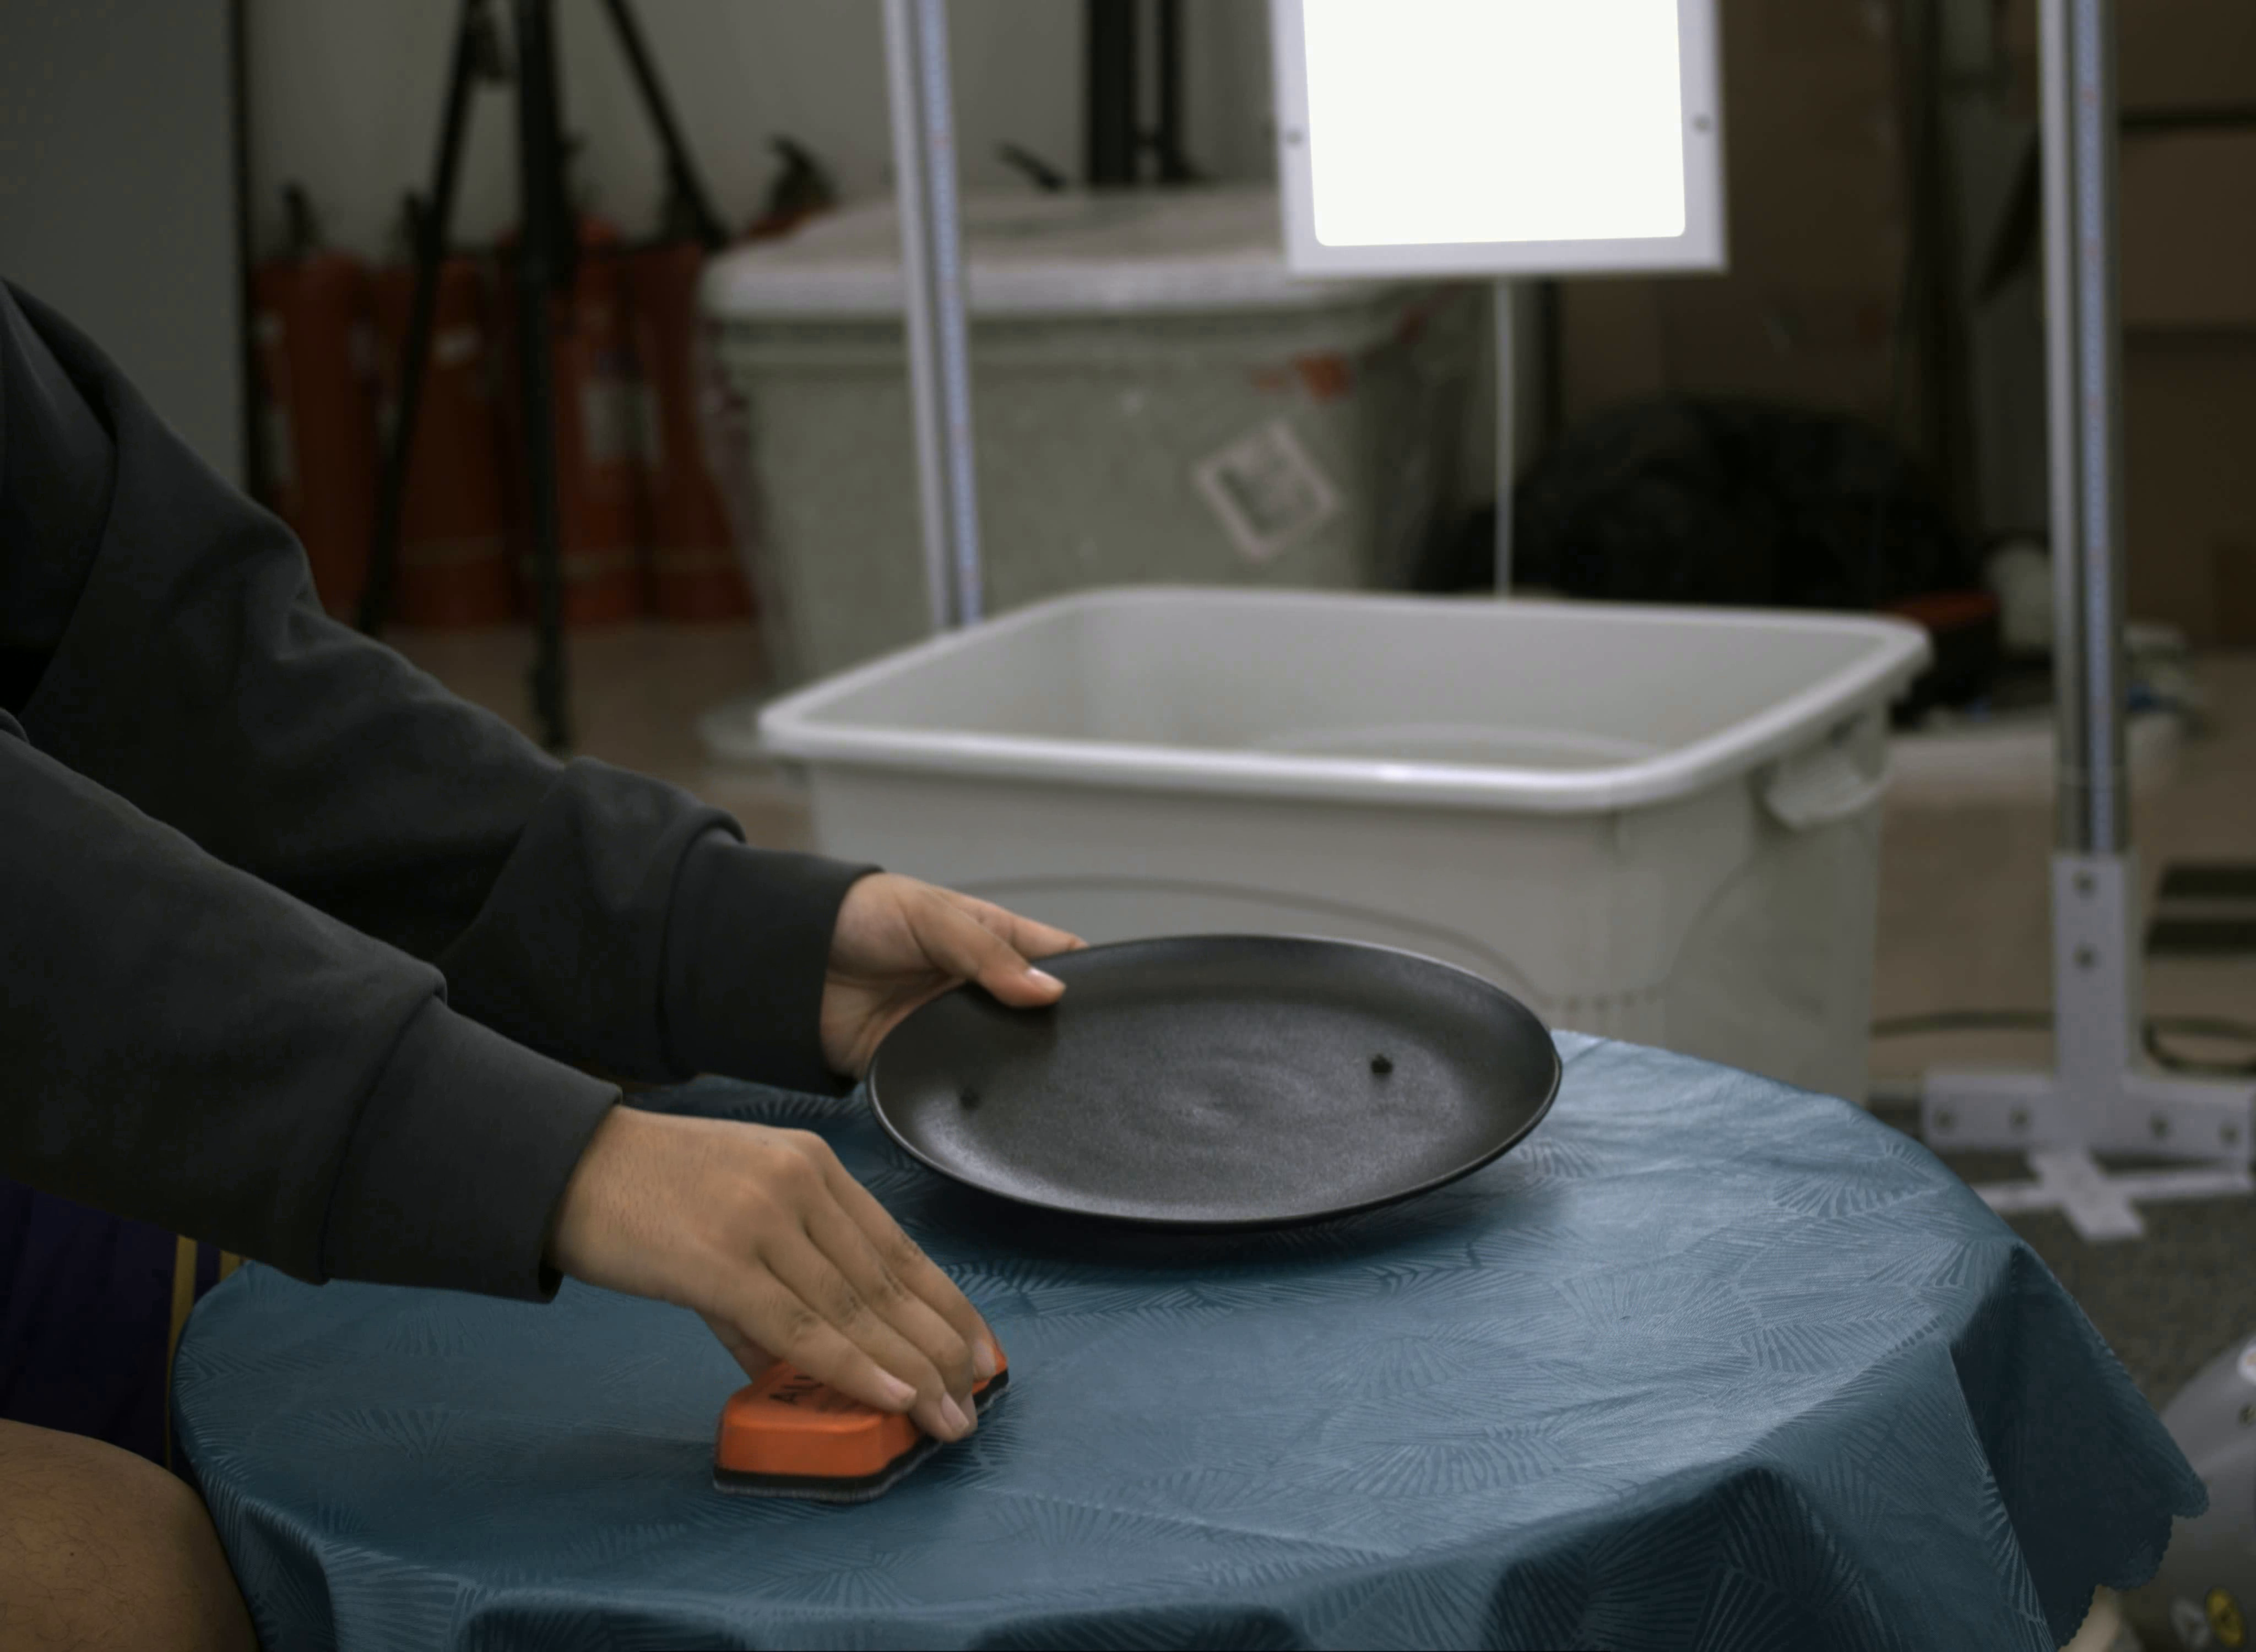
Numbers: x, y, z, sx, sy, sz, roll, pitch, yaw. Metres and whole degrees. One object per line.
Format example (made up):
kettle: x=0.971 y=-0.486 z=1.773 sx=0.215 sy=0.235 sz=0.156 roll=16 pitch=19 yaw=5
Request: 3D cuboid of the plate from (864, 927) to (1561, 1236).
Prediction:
plate: x=0.030 y=0.093 z=1.913 sx=0.244 sy=0.023 sz=0.244 roll=-3 pitch=22 yaw=0

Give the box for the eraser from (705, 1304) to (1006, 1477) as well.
eraser: x=-0.082 y=0.171 z=1.677 sx=0.060 sy=0.023 sz=0.106 roll=0 pitch=11 yaw=24
